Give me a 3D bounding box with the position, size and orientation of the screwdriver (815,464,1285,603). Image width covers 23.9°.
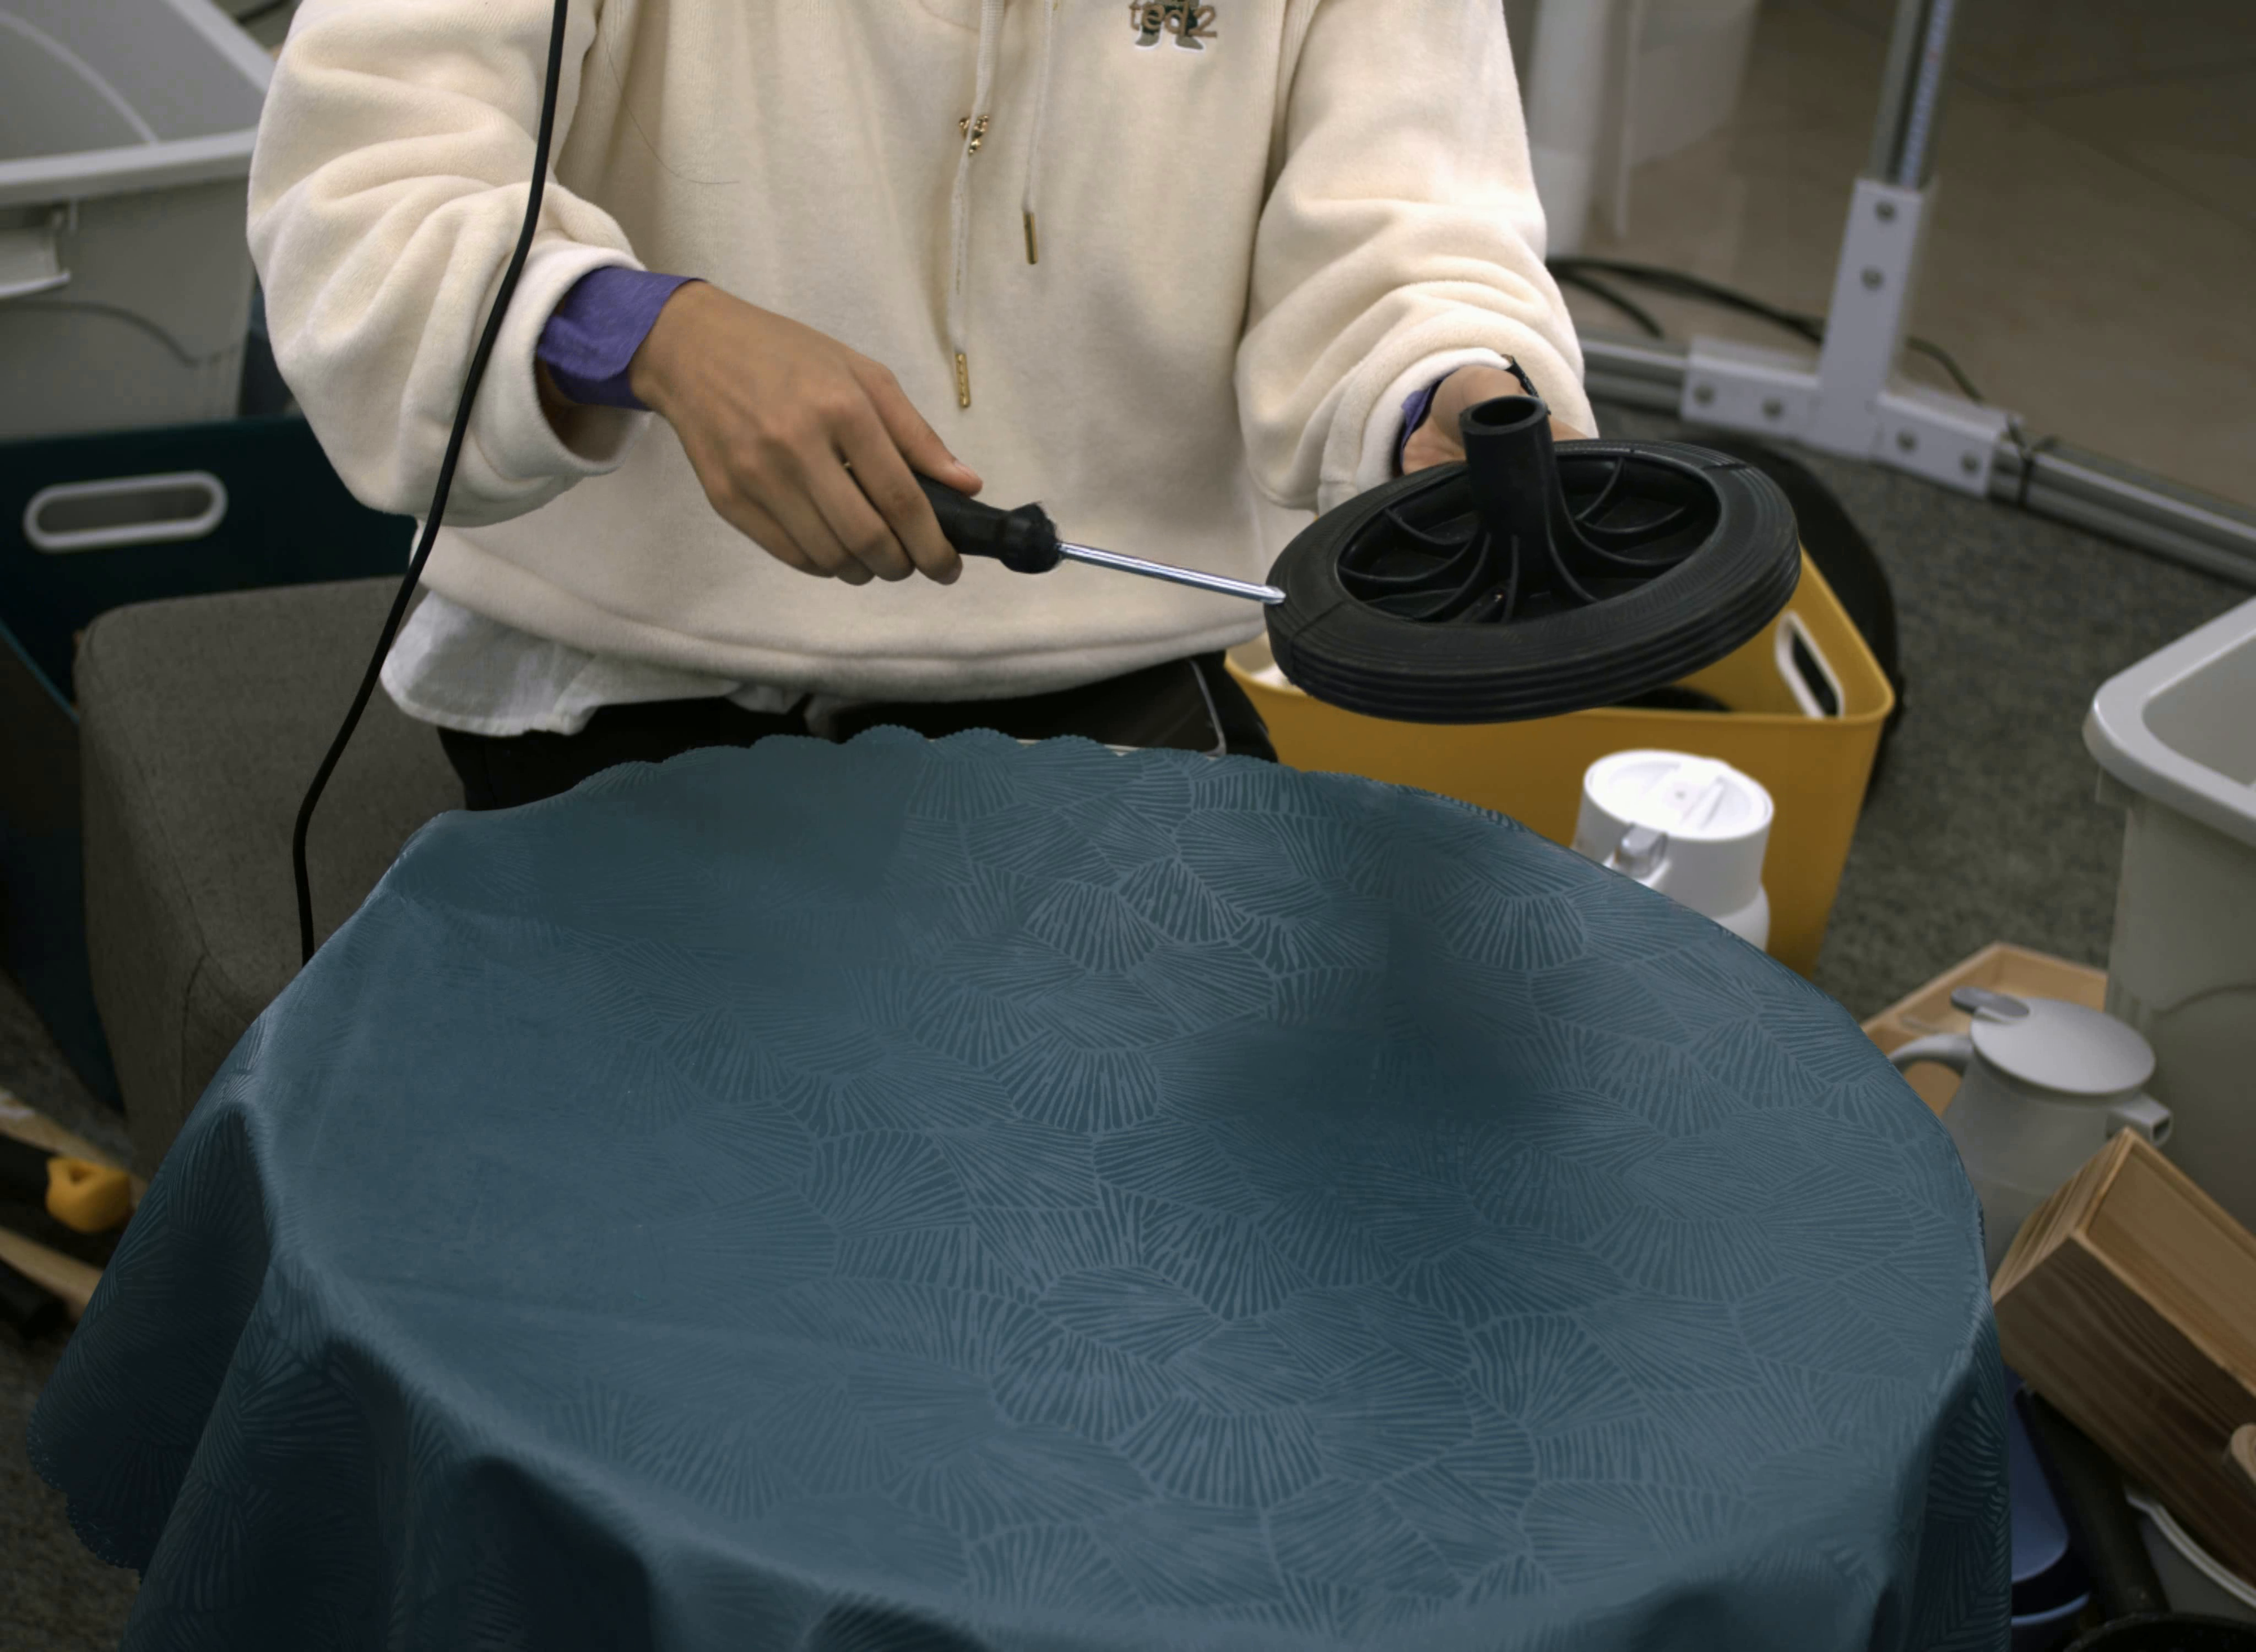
[{"bbox_3d":[-0.028,-0.104,1.893,0.197,0.031,0.031,11,25,31],"label":"screwdriver"}]

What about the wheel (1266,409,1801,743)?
[{"bbox_3d":[0.136,-0.102,1.845,0.187,0.079,0.190,-5,29,16],"label":"wheel"}]
